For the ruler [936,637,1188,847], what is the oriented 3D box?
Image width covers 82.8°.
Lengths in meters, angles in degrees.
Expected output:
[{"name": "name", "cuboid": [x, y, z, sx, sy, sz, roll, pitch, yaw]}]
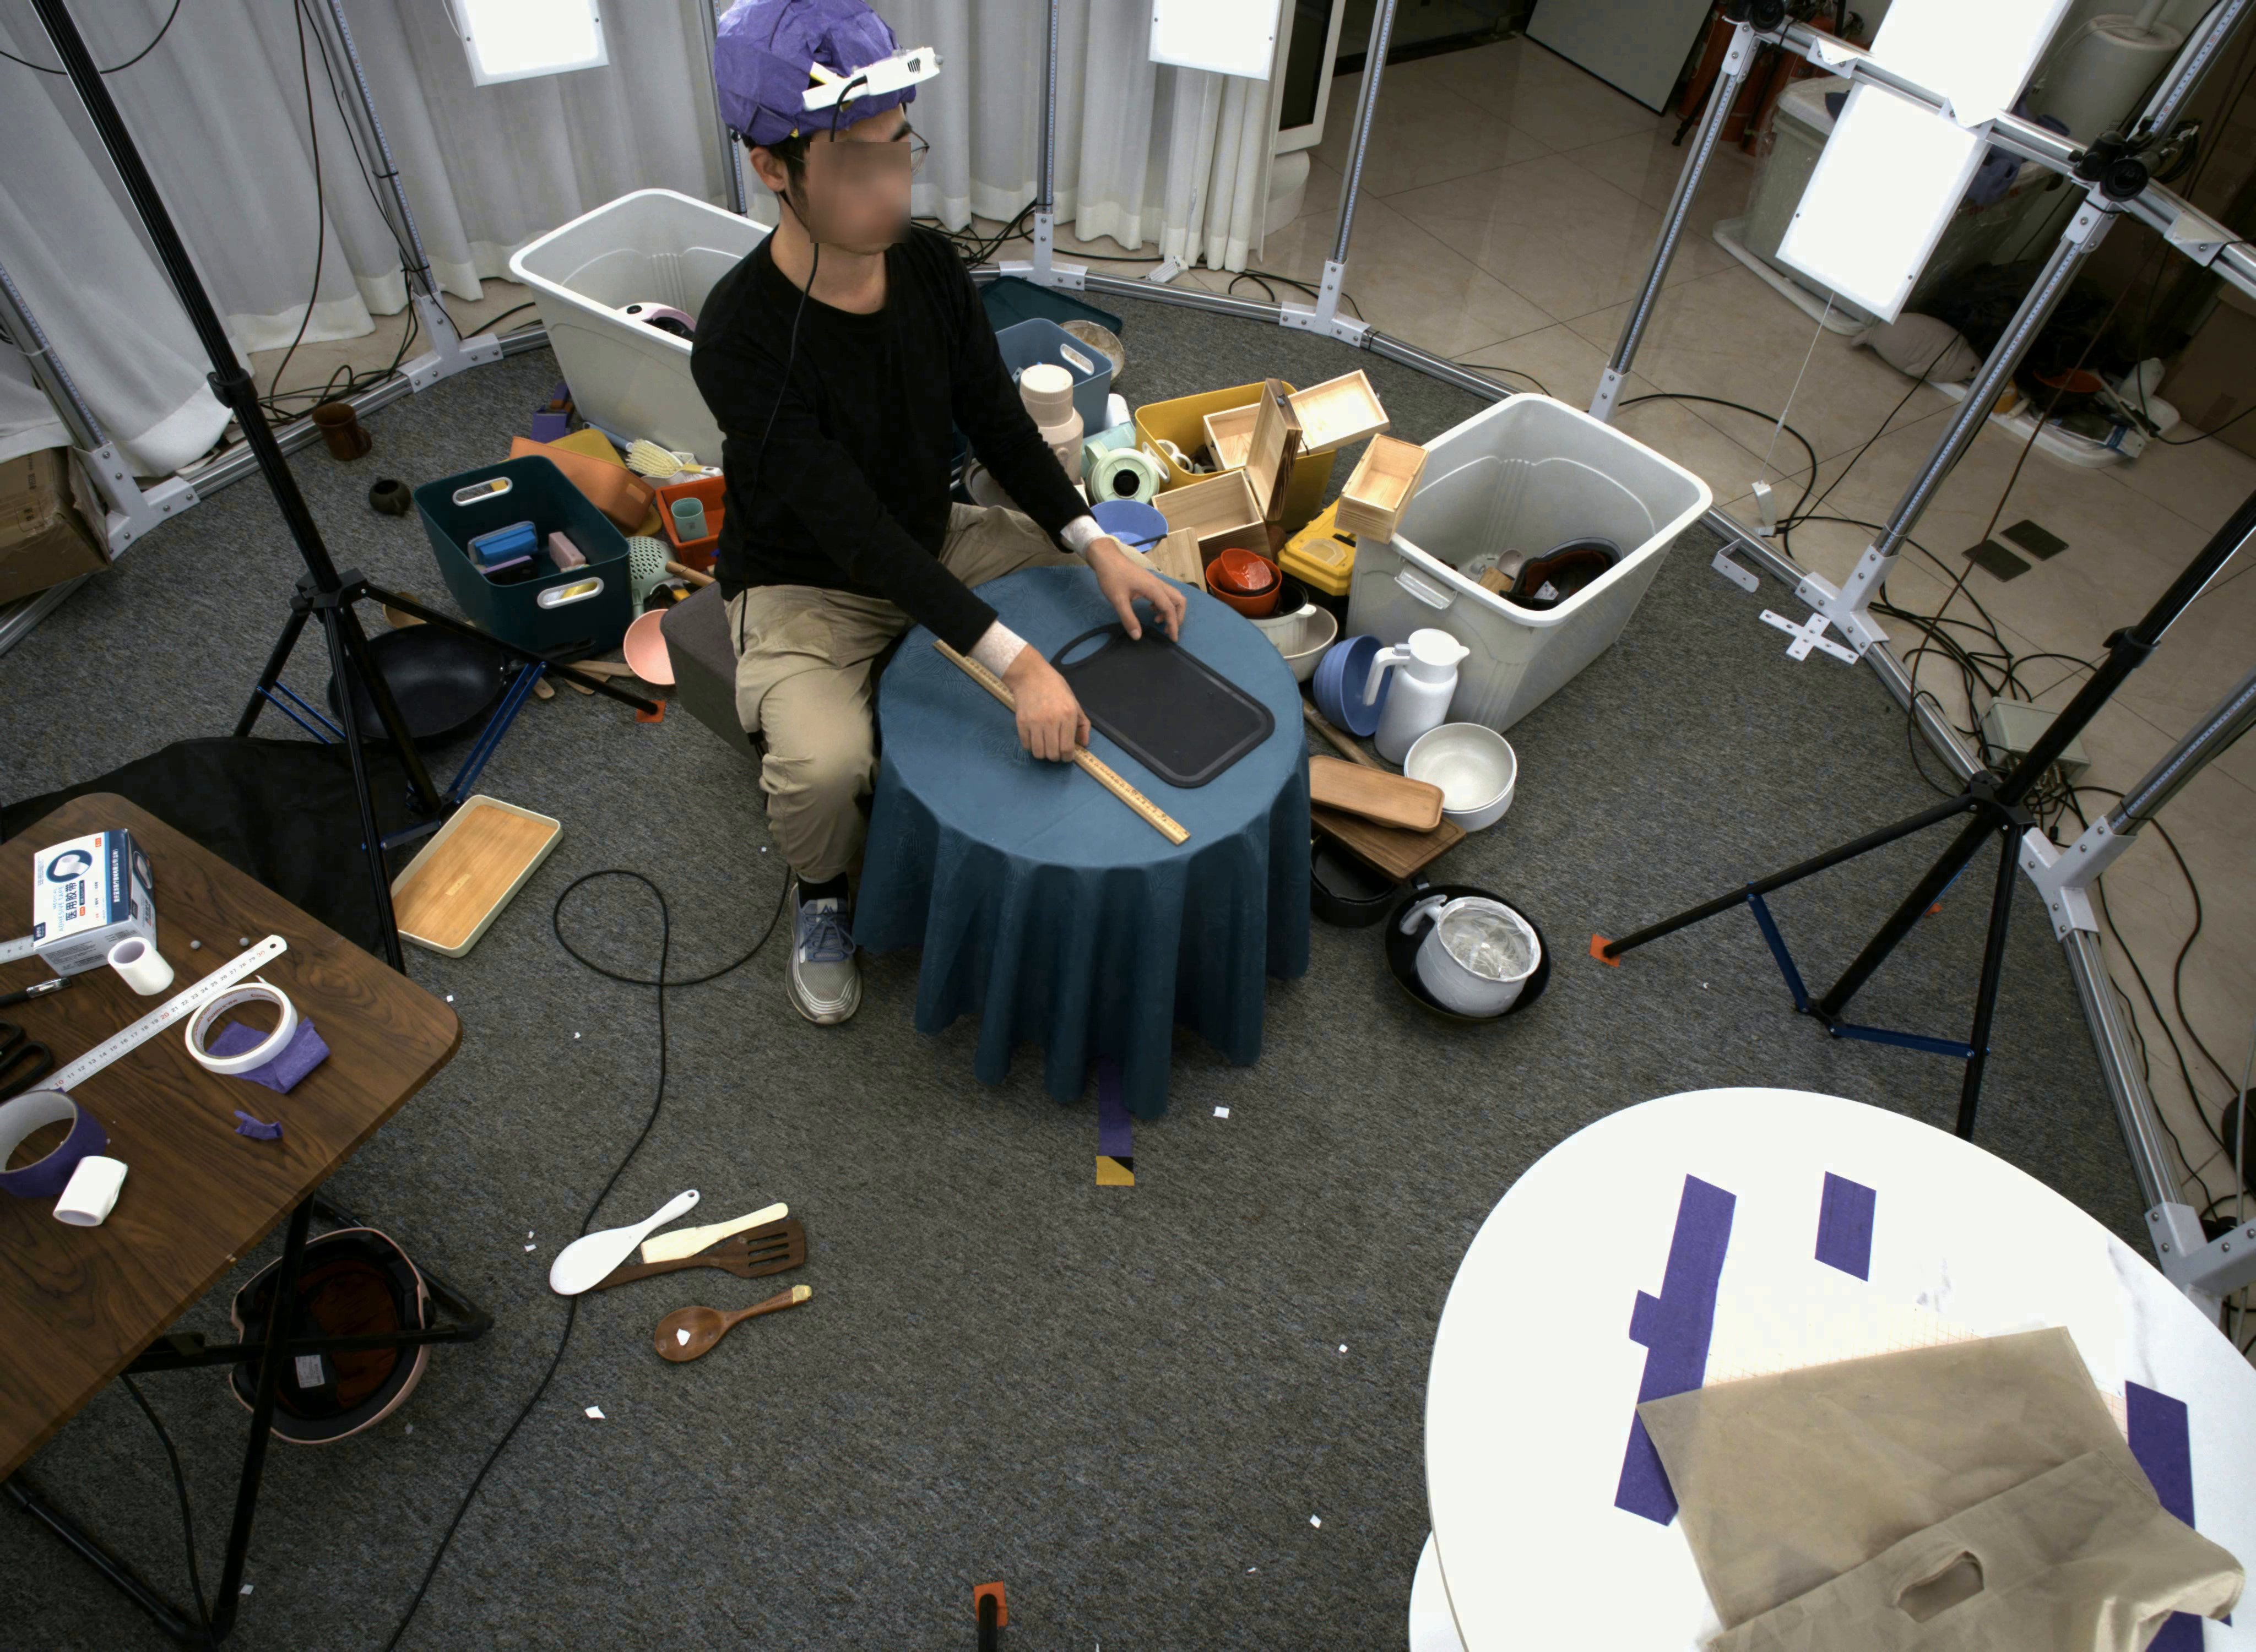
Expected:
[{"name": "ruler", "cuboid": [-0.100, -0.126, 1.770, 0.027, 0.006, 0.508, -32, 58, -30]}]

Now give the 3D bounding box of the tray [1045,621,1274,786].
[{"name": "tray", "cuboid": [0.037, -0.186, 1.829, 0.213, 0.009, 0.330, -35, 60, -29]}]
